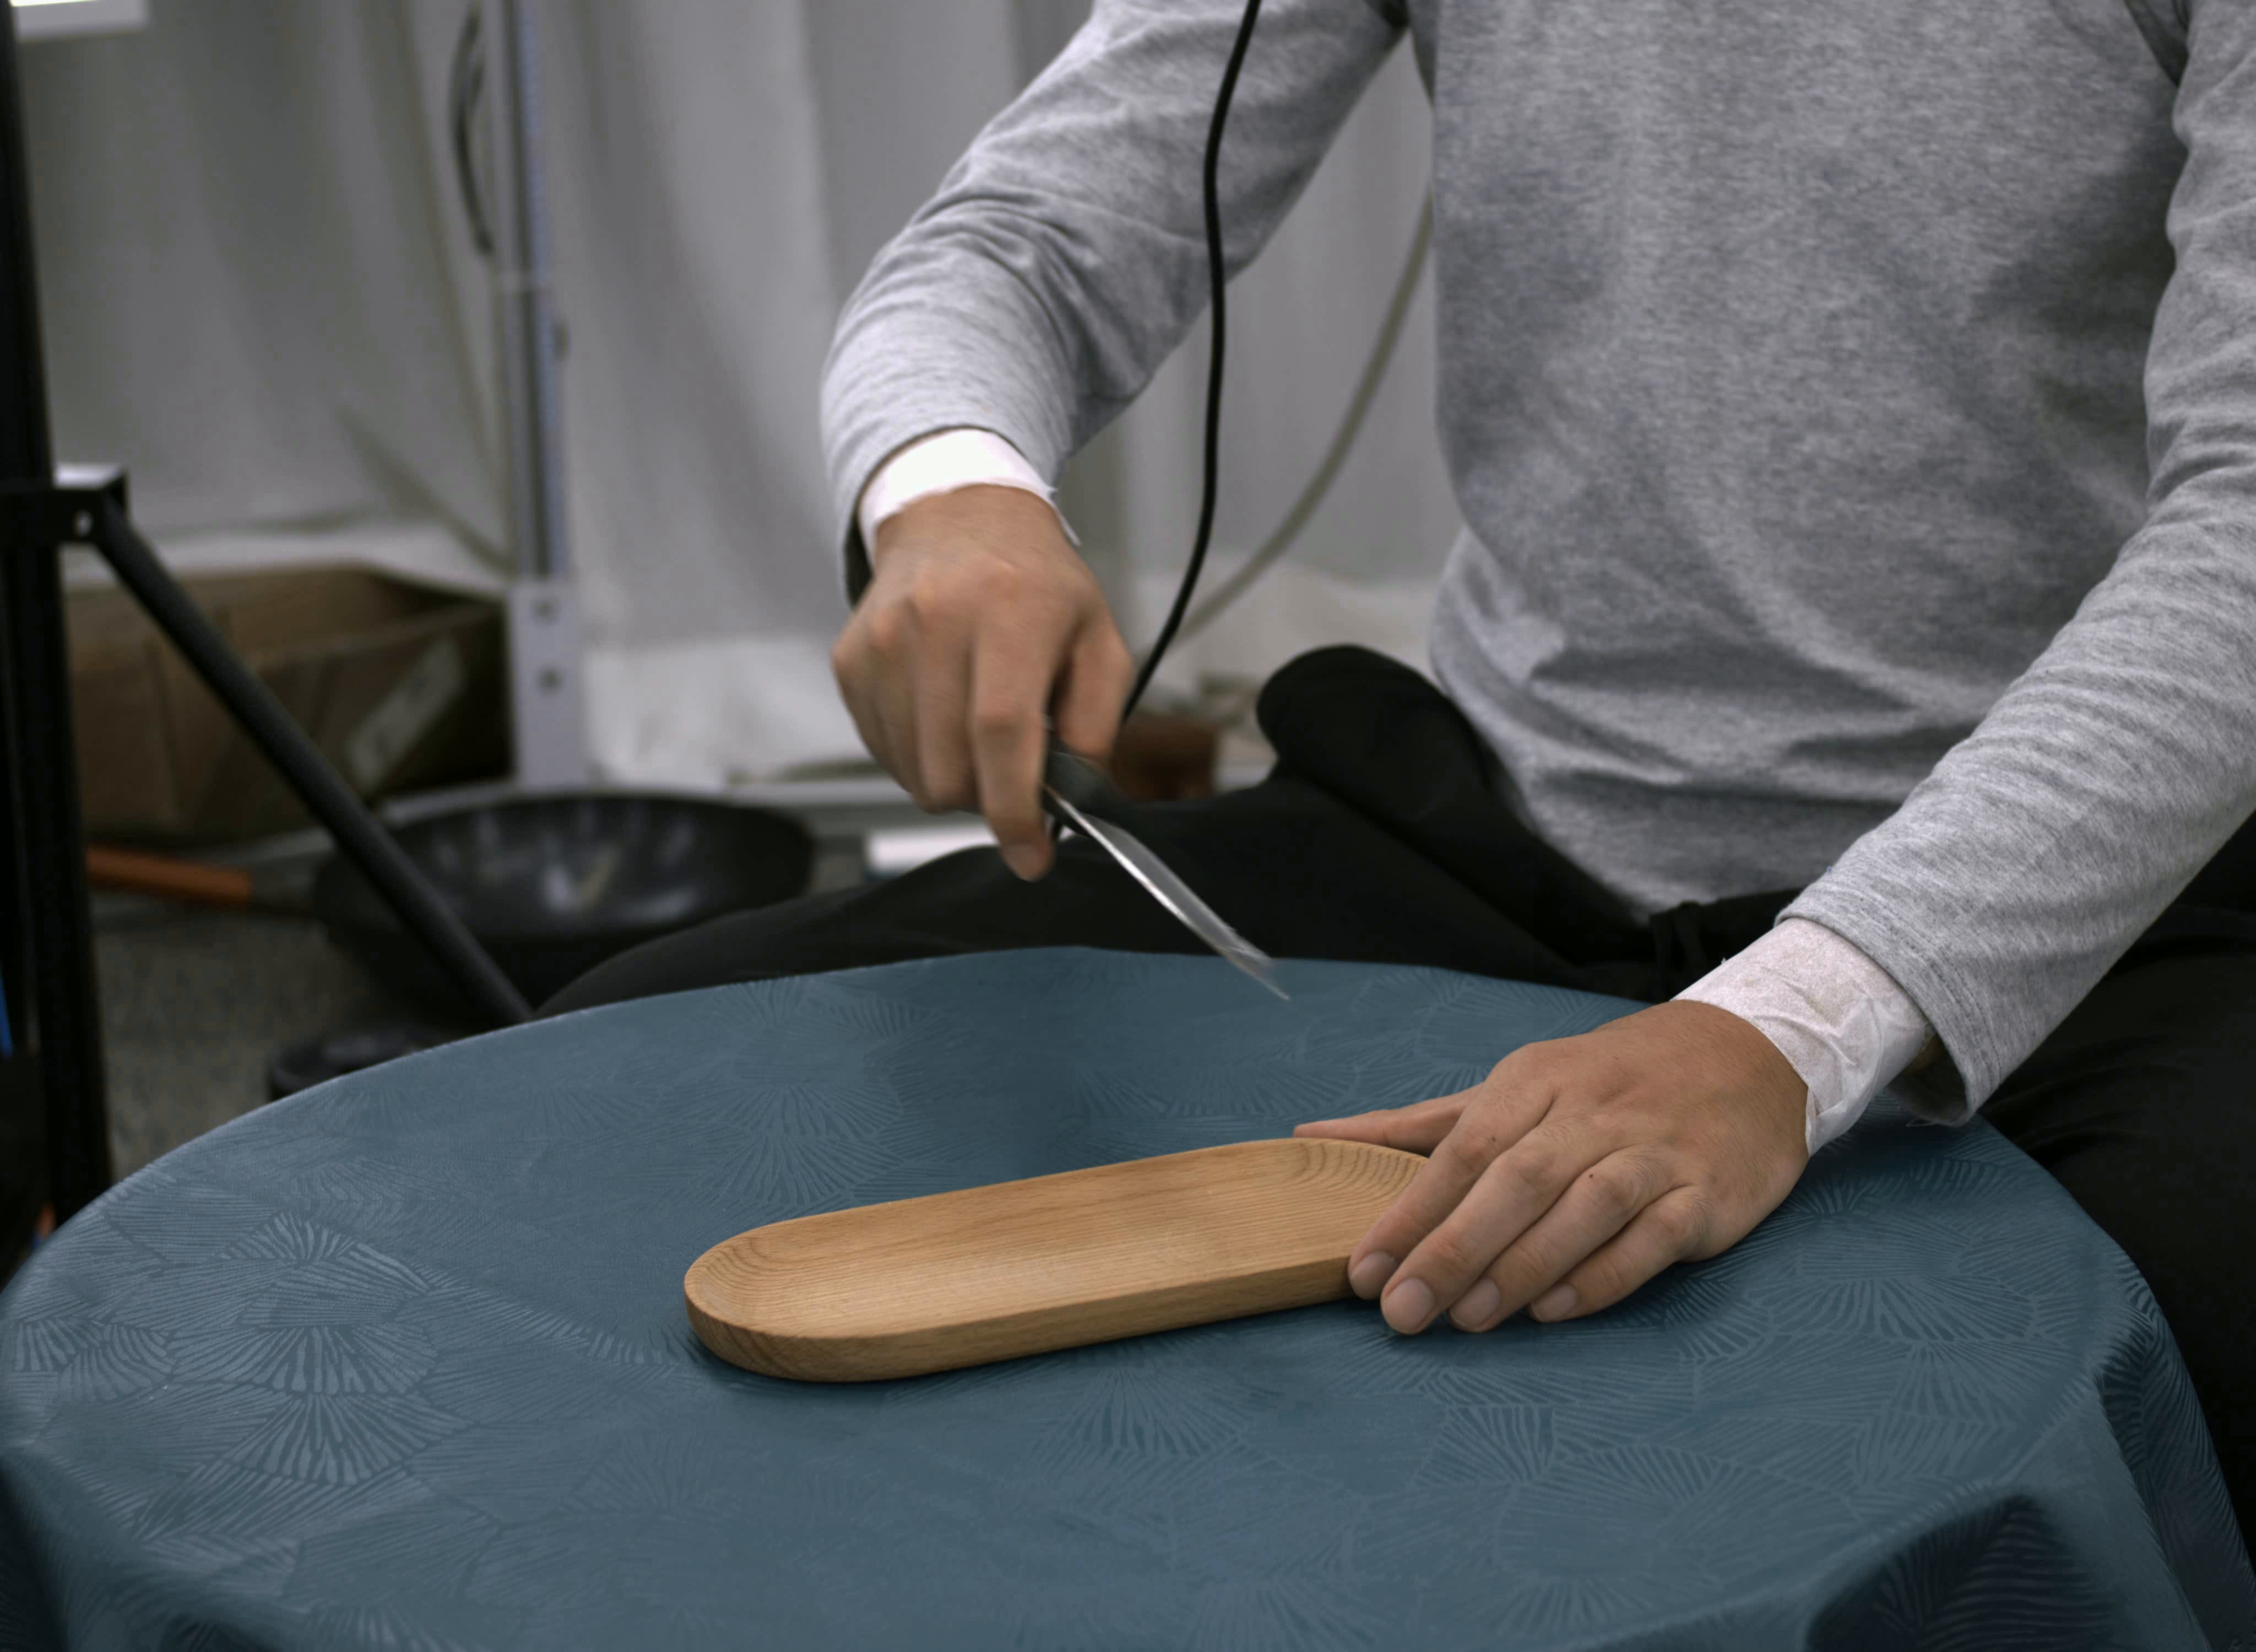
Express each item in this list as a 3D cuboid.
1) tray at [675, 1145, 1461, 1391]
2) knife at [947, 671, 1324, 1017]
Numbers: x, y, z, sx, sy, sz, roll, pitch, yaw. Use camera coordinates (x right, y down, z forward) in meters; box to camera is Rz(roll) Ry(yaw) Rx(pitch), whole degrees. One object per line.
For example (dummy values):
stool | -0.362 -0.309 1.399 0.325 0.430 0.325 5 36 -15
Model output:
tray | -0.014 0.123 1.484 0.227 0.020 0.103 -10 15 -21
knife | 0.000 0.004 1.528 0.024 0.016 0.243 20 13 -32
